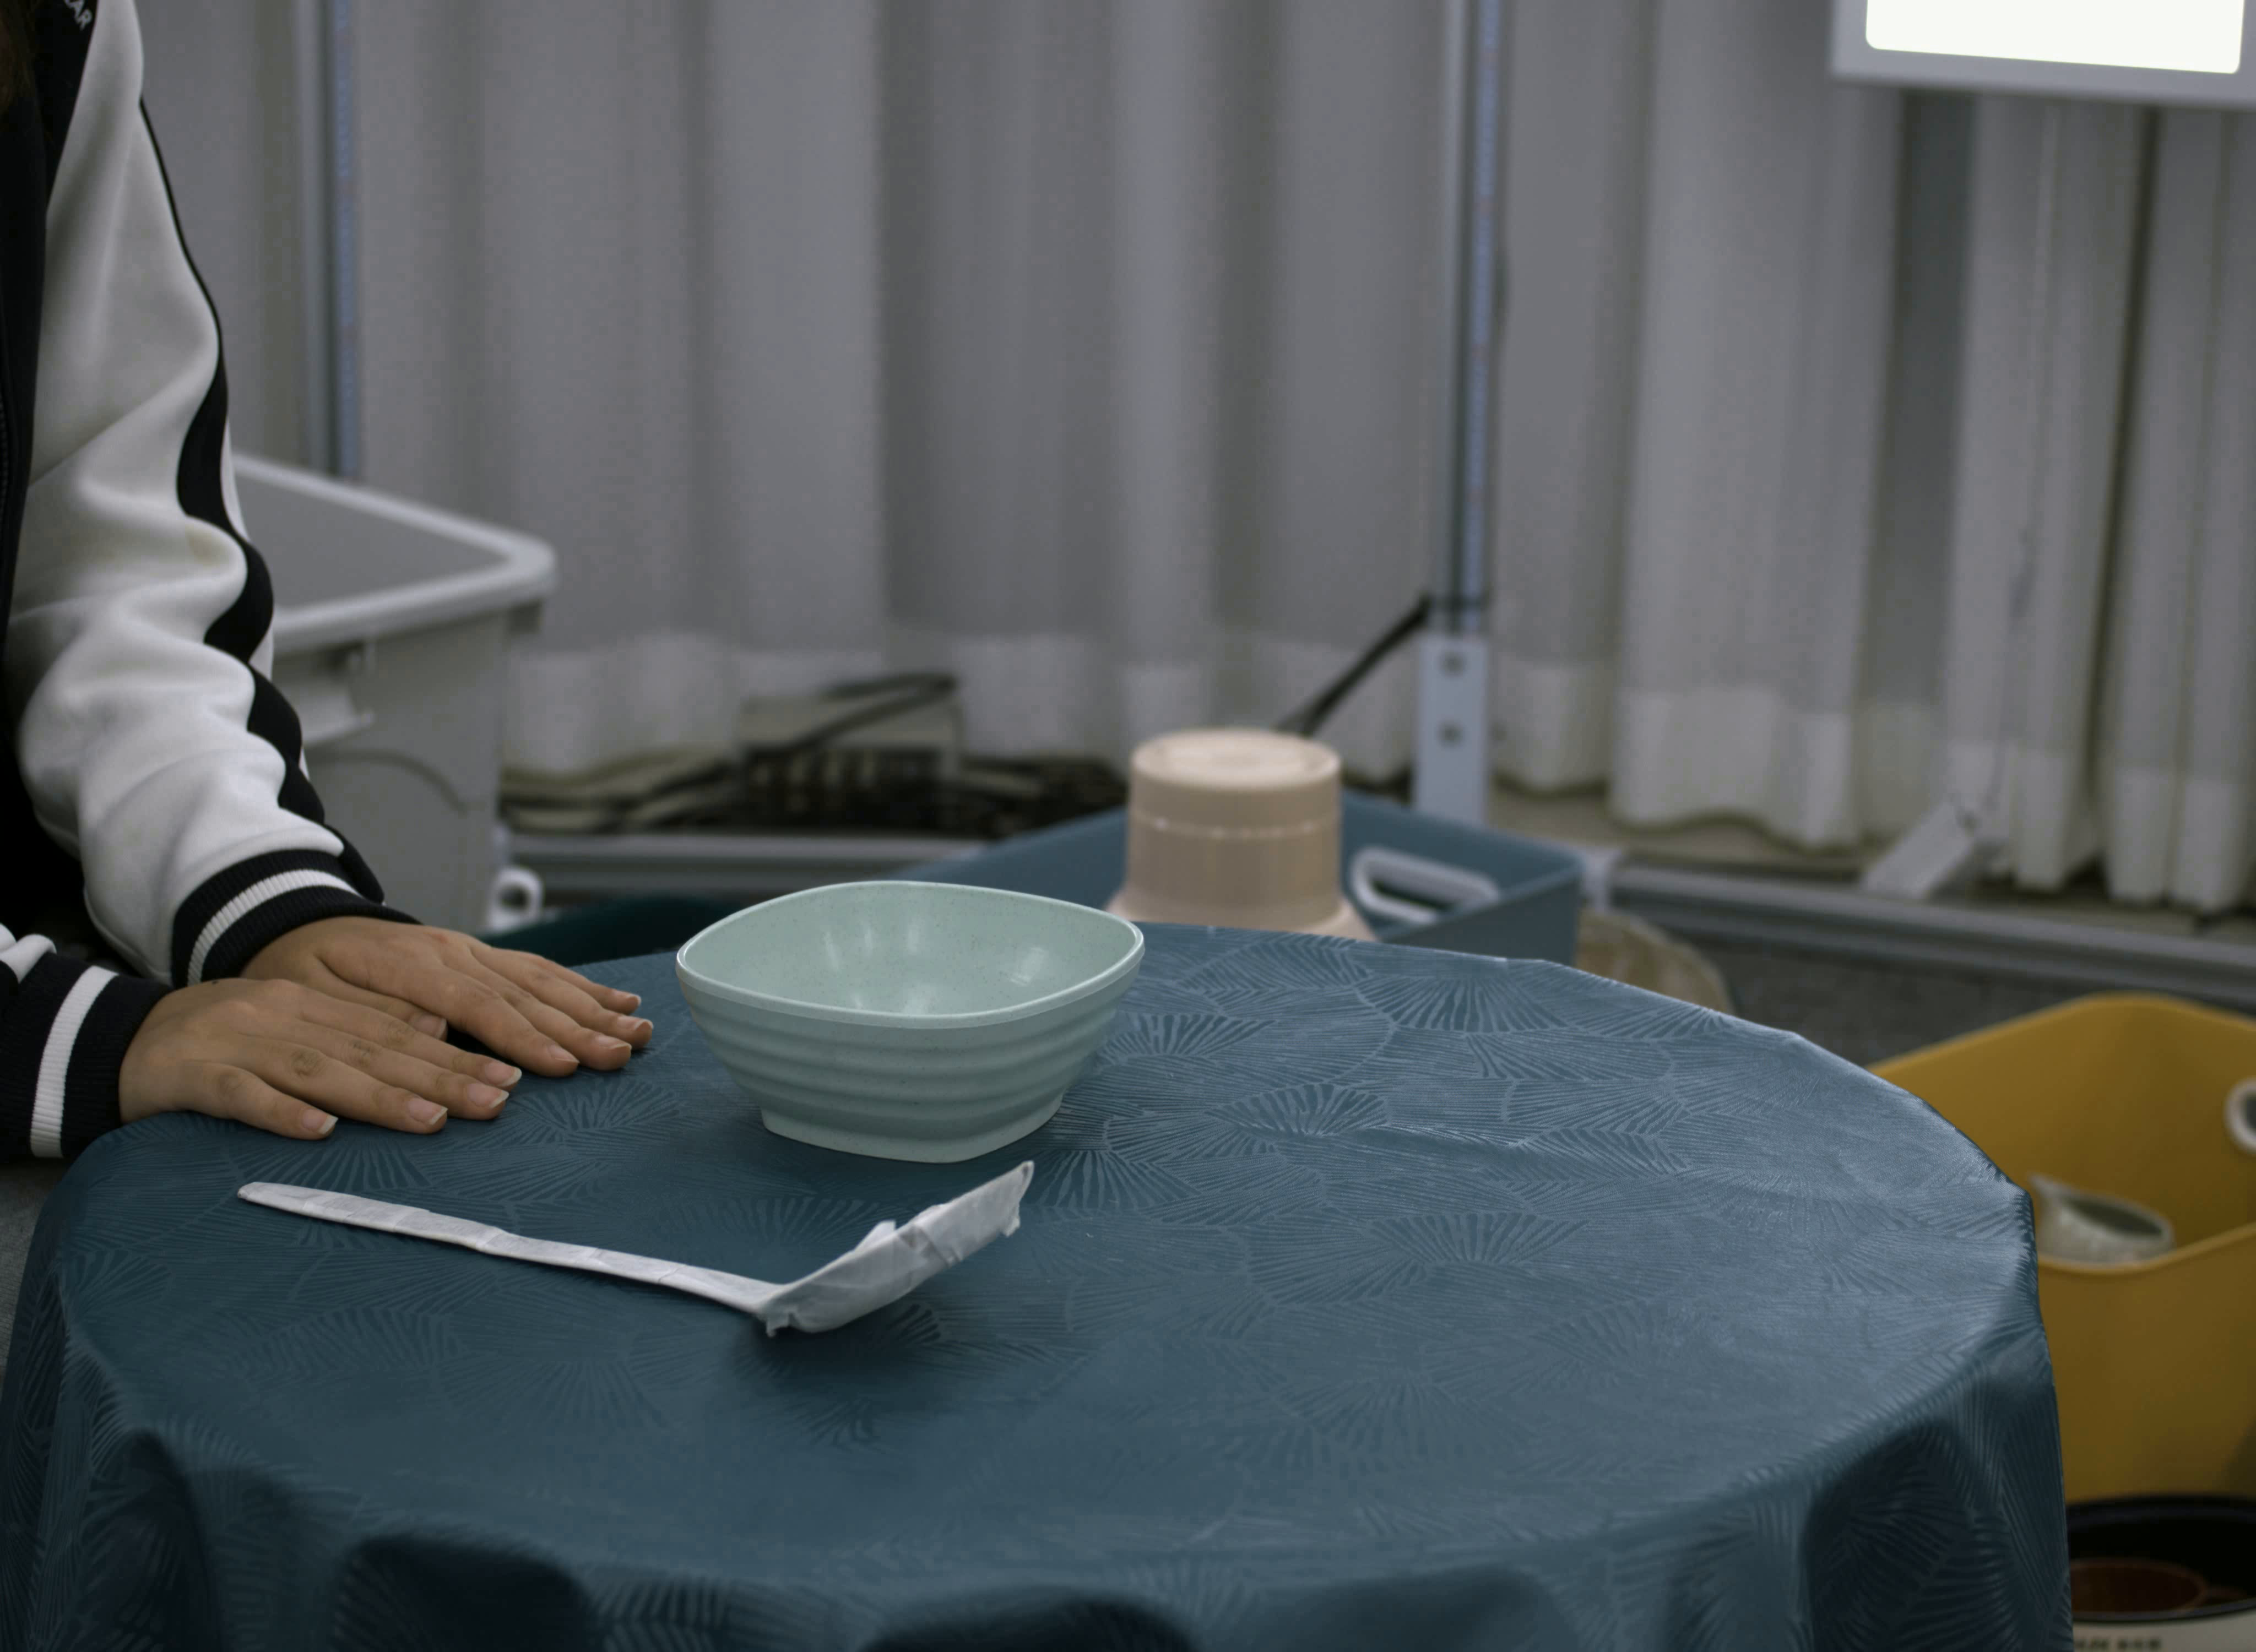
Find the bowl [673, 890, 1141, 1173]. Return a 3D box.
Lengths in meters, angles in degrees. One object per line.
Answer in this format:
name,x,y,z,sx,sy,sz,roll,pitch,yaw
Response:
bowl,-0.070,0.068,1.682,0.151,0.059,0.150,1,15,0

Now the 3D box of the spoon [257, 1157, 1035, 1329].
spoon,-0.149,0.102,1.548,0.274,0.060,0.101,11,13,32
